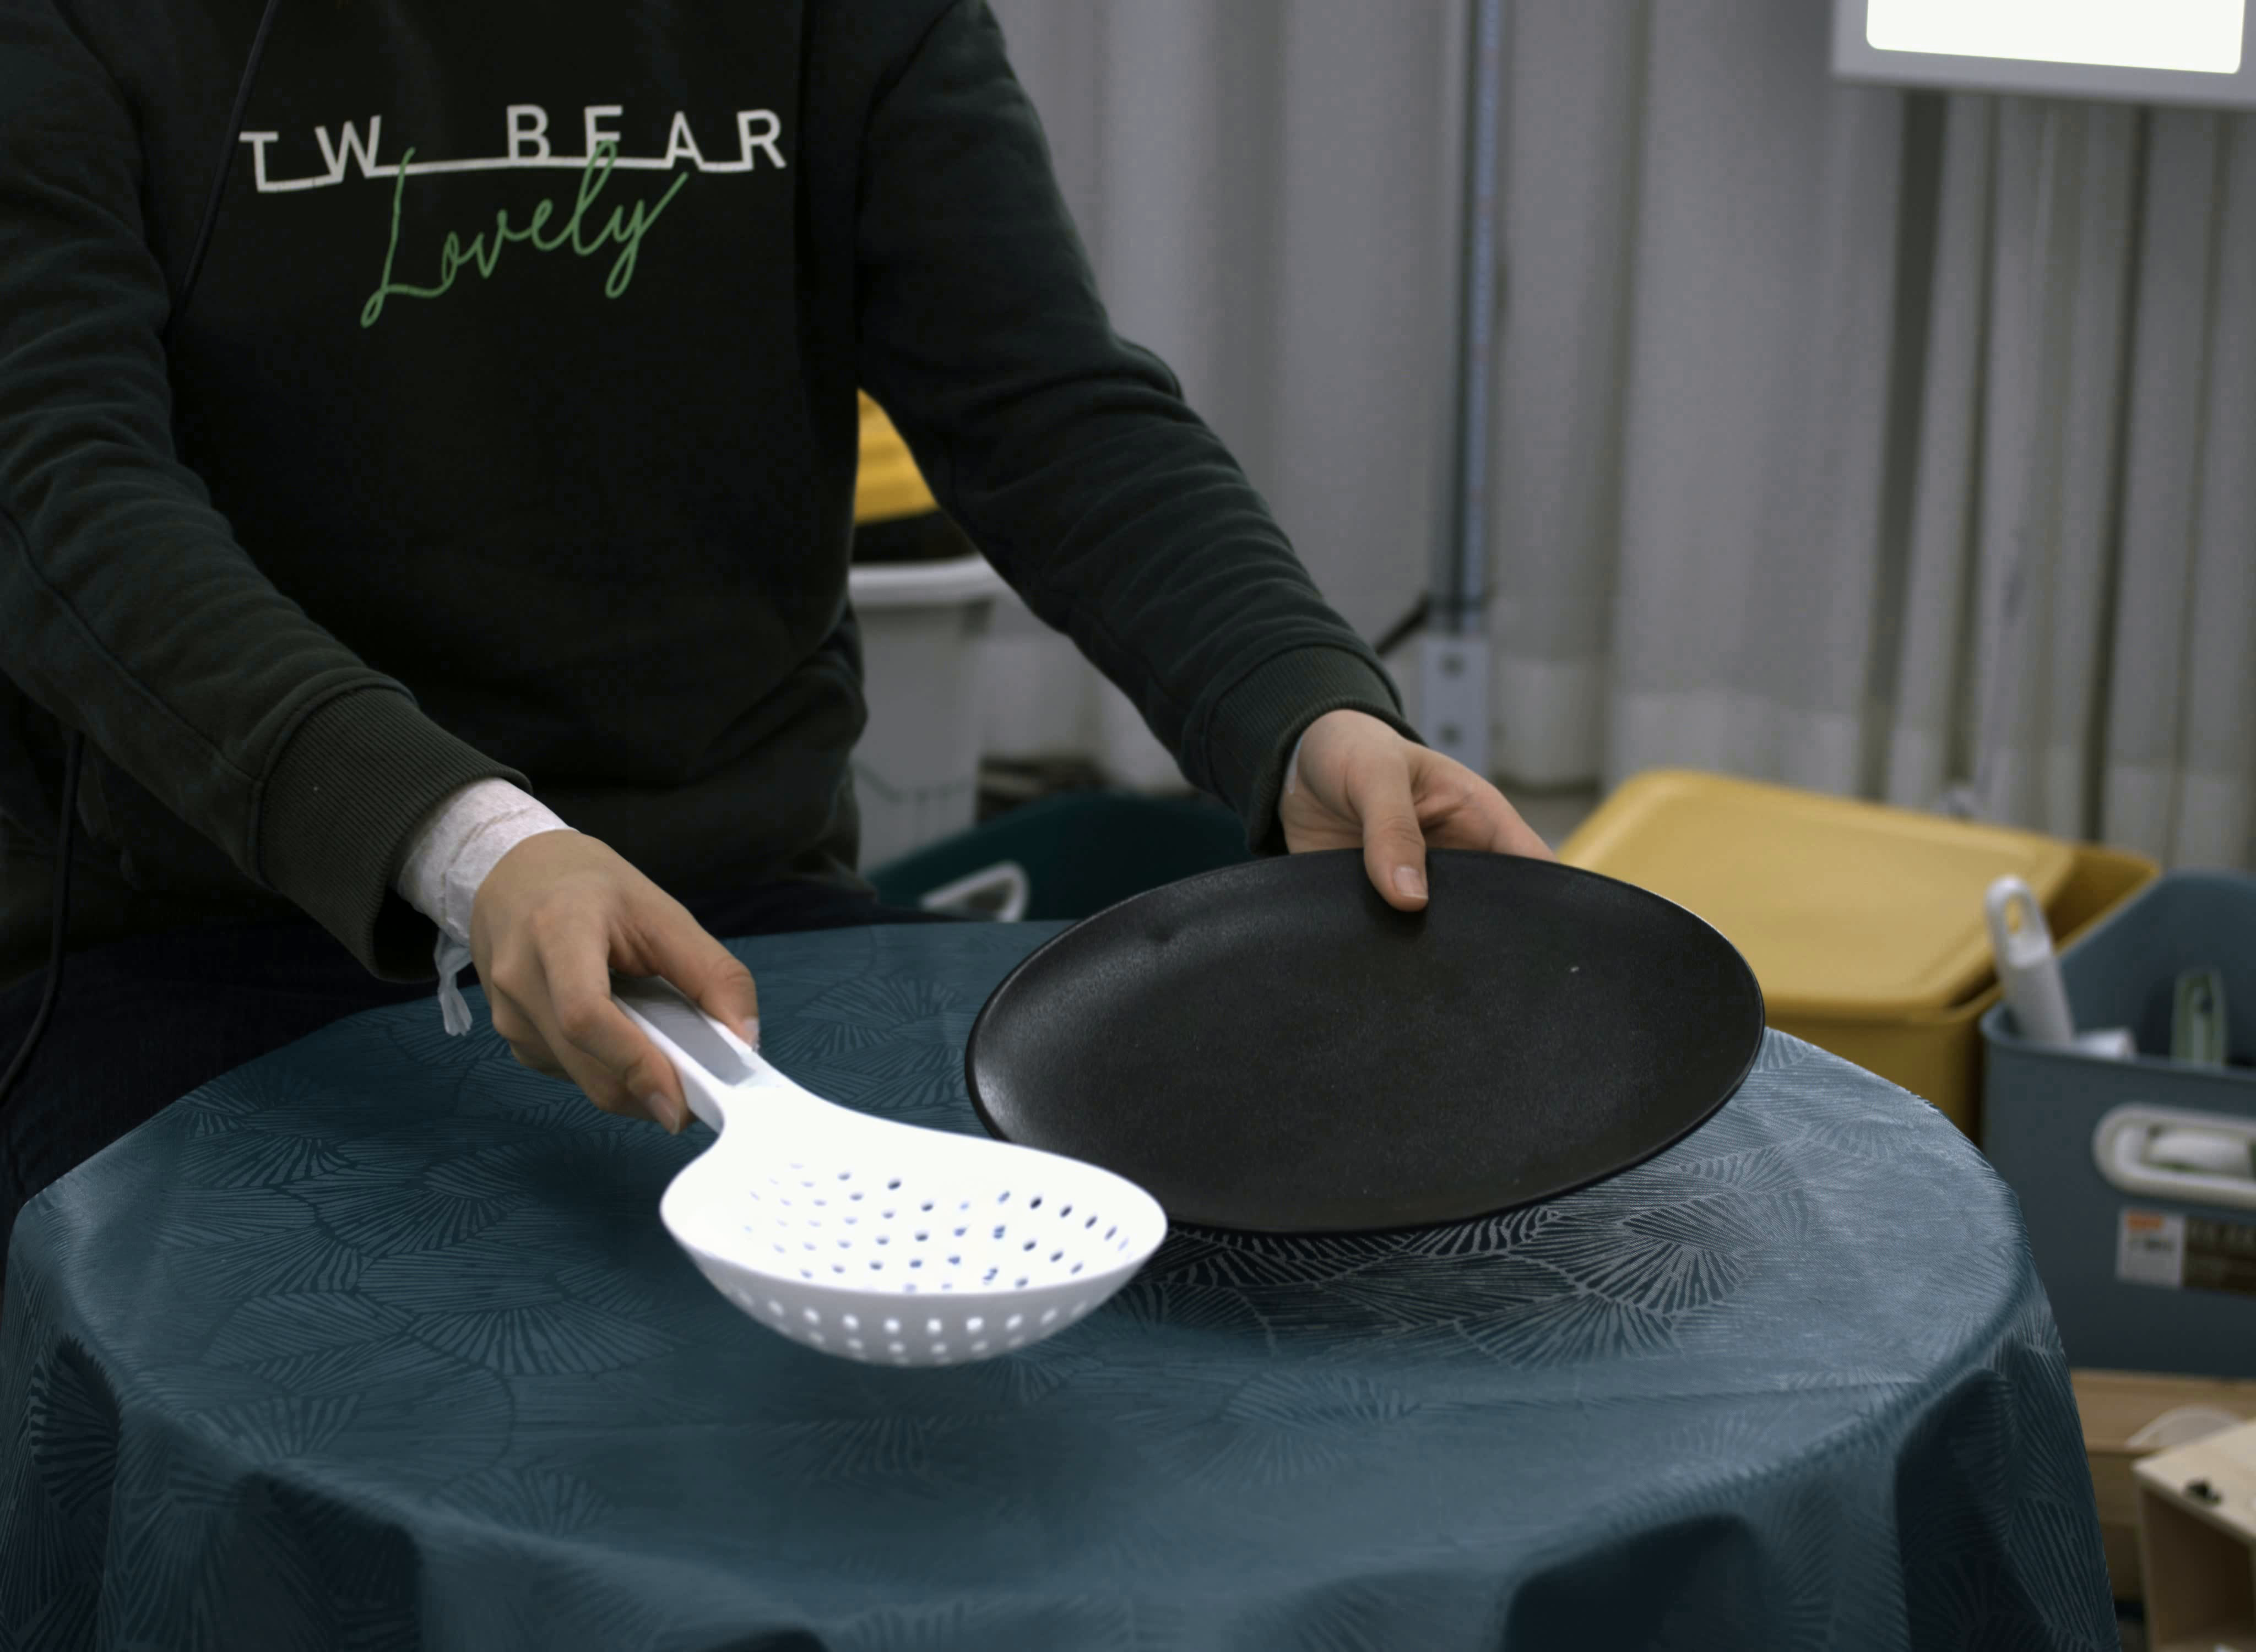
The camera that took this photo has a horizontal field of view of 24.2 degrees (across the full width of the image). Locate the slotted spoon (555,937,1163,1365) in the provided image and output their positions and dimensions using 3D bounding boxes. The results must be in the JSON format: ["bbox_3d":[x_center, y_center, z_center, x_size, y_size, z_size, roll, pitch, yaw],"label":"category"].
[{"bbox_3d":[-0.101,0.084,1.507,0.136,0.046,0.345,-2,20,-24],"label":"slotted spoon"}]

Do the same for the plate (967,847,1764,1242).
[{"bbox_3d":[0.072,0.069,1.605,0.243,0.024,0.242,-4,26,2],"label":"plate"}]
